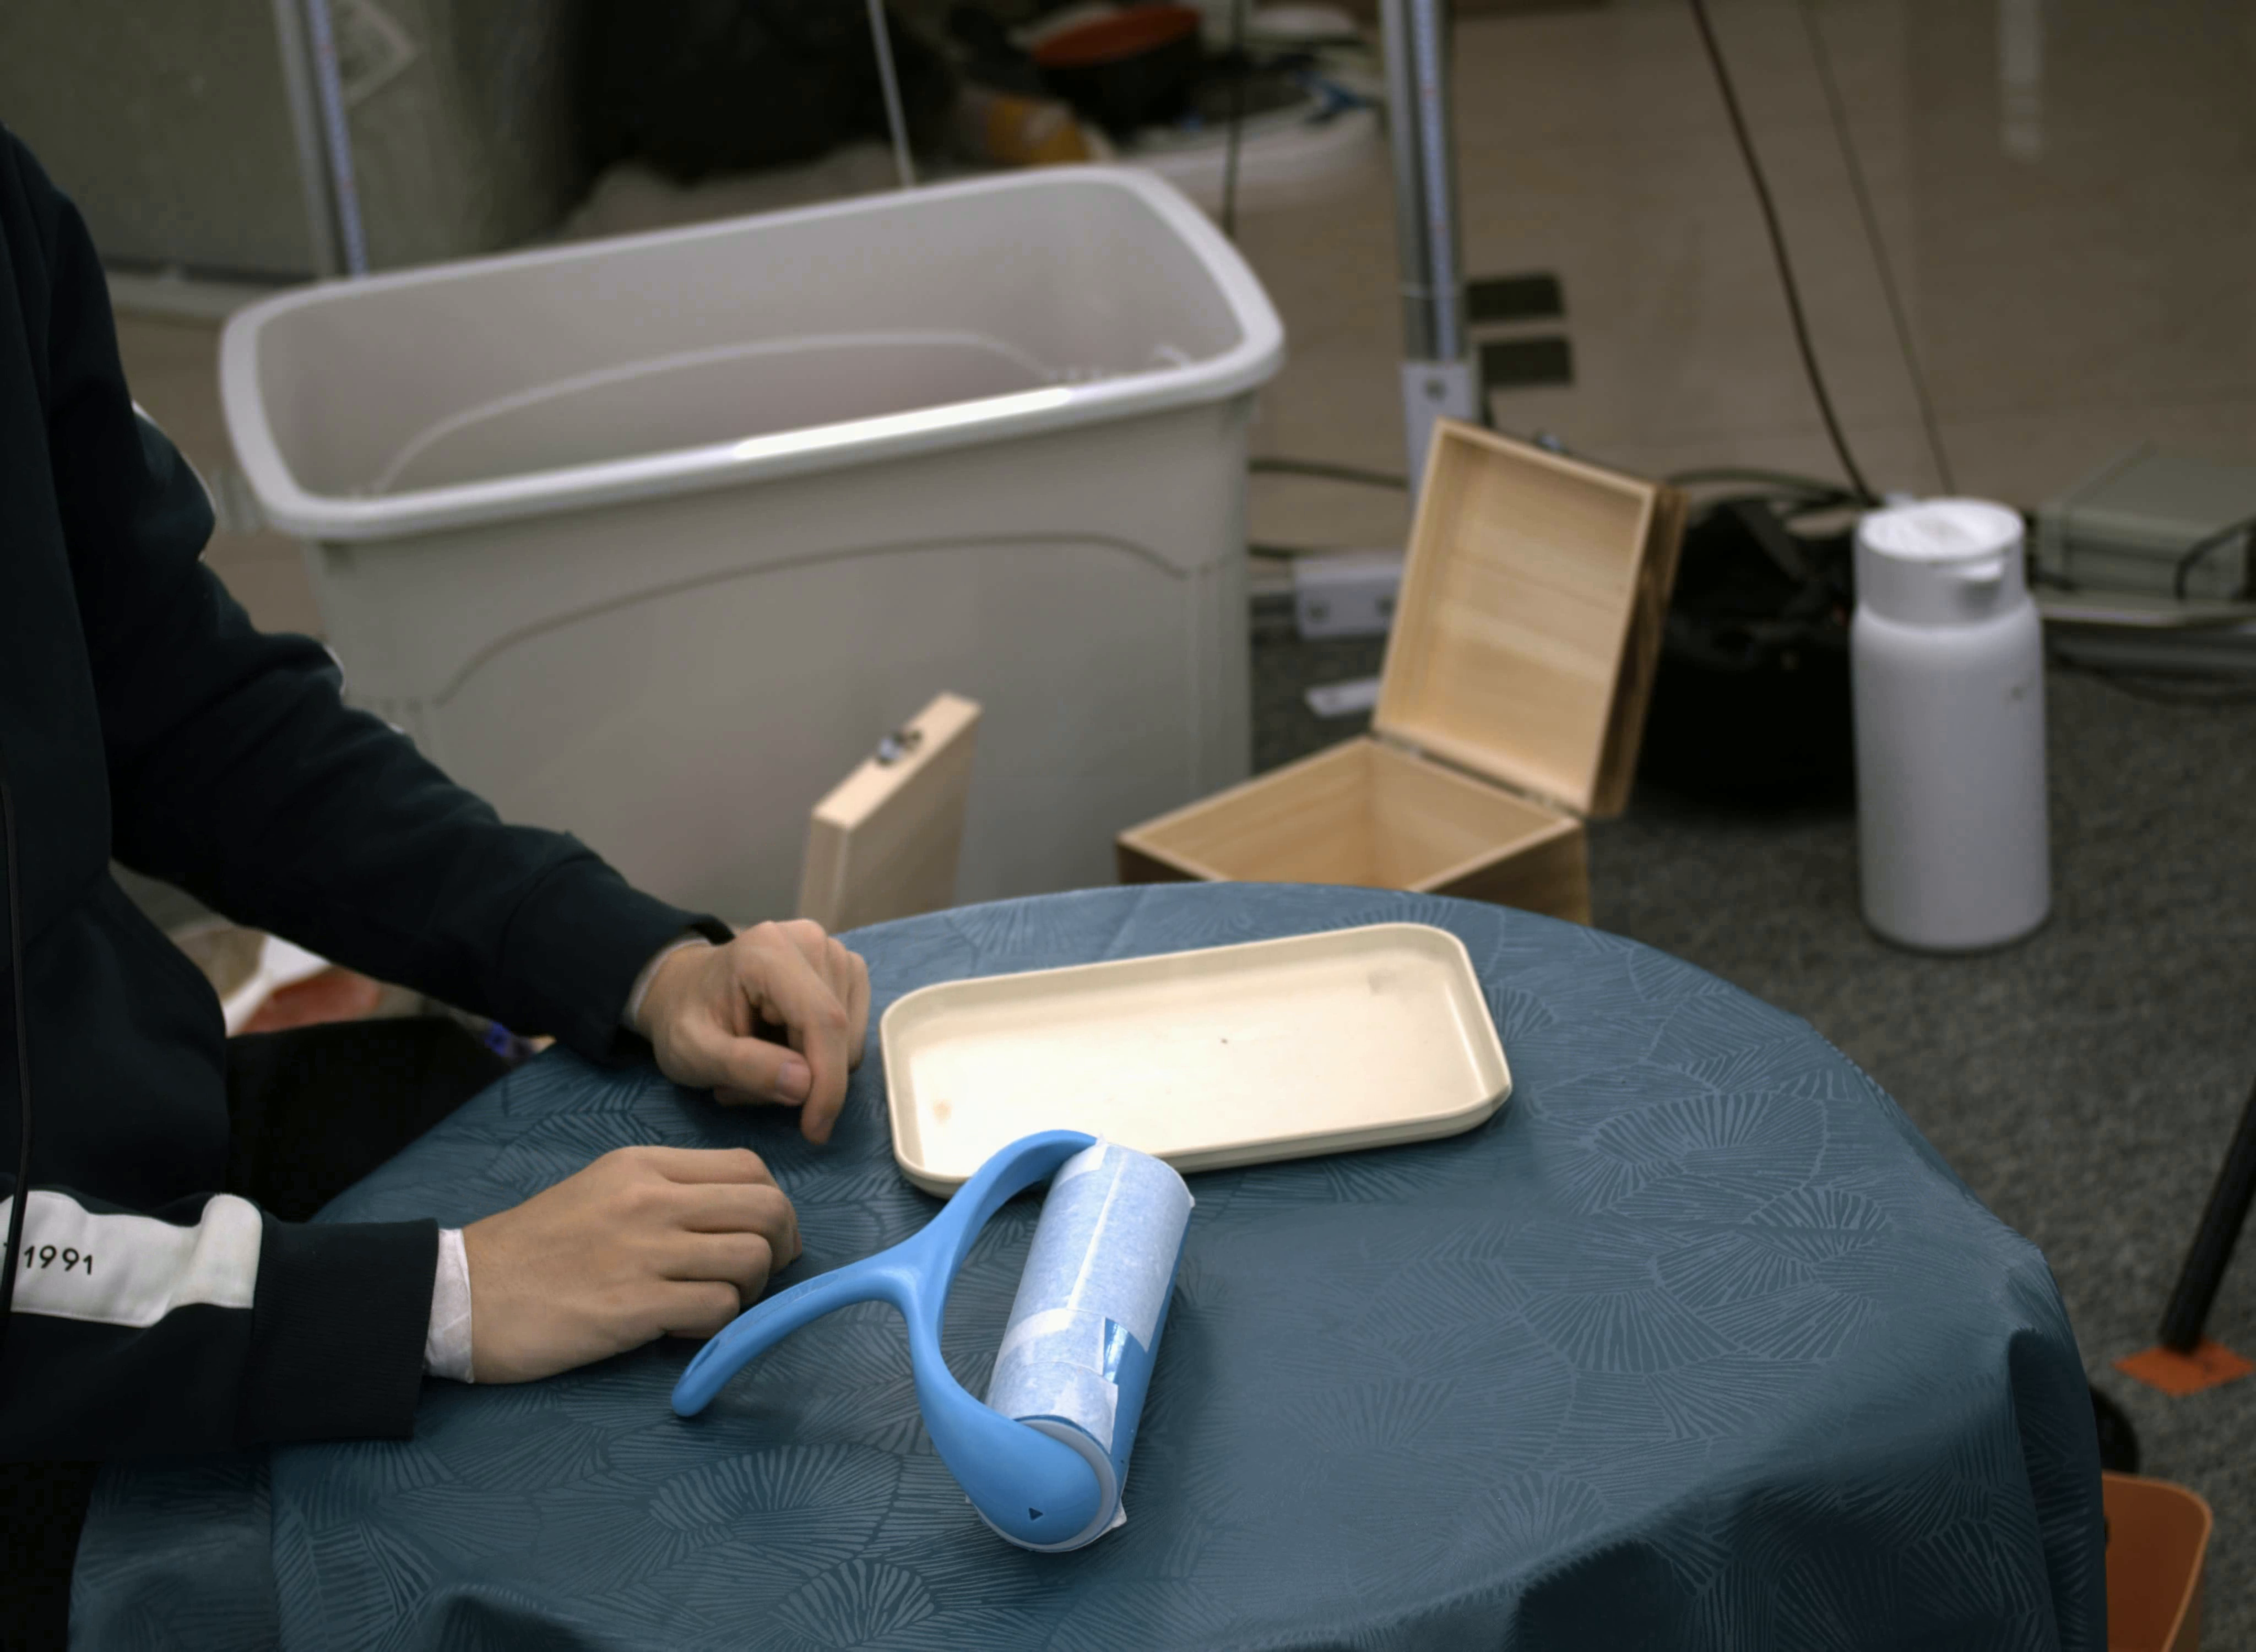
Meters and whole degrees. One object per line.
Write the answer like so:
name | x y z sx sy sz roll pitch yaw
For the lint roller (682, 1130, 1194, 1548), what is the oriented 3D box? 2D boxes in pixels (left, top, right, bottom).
lint roller | -0.073 0.182 2.002 0.180 0.069 0.225 -3 27 7

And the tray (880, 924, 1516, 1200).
tray | 0.025 0.093 2.215 0.239 0.018 0.169 -8 24 -2
